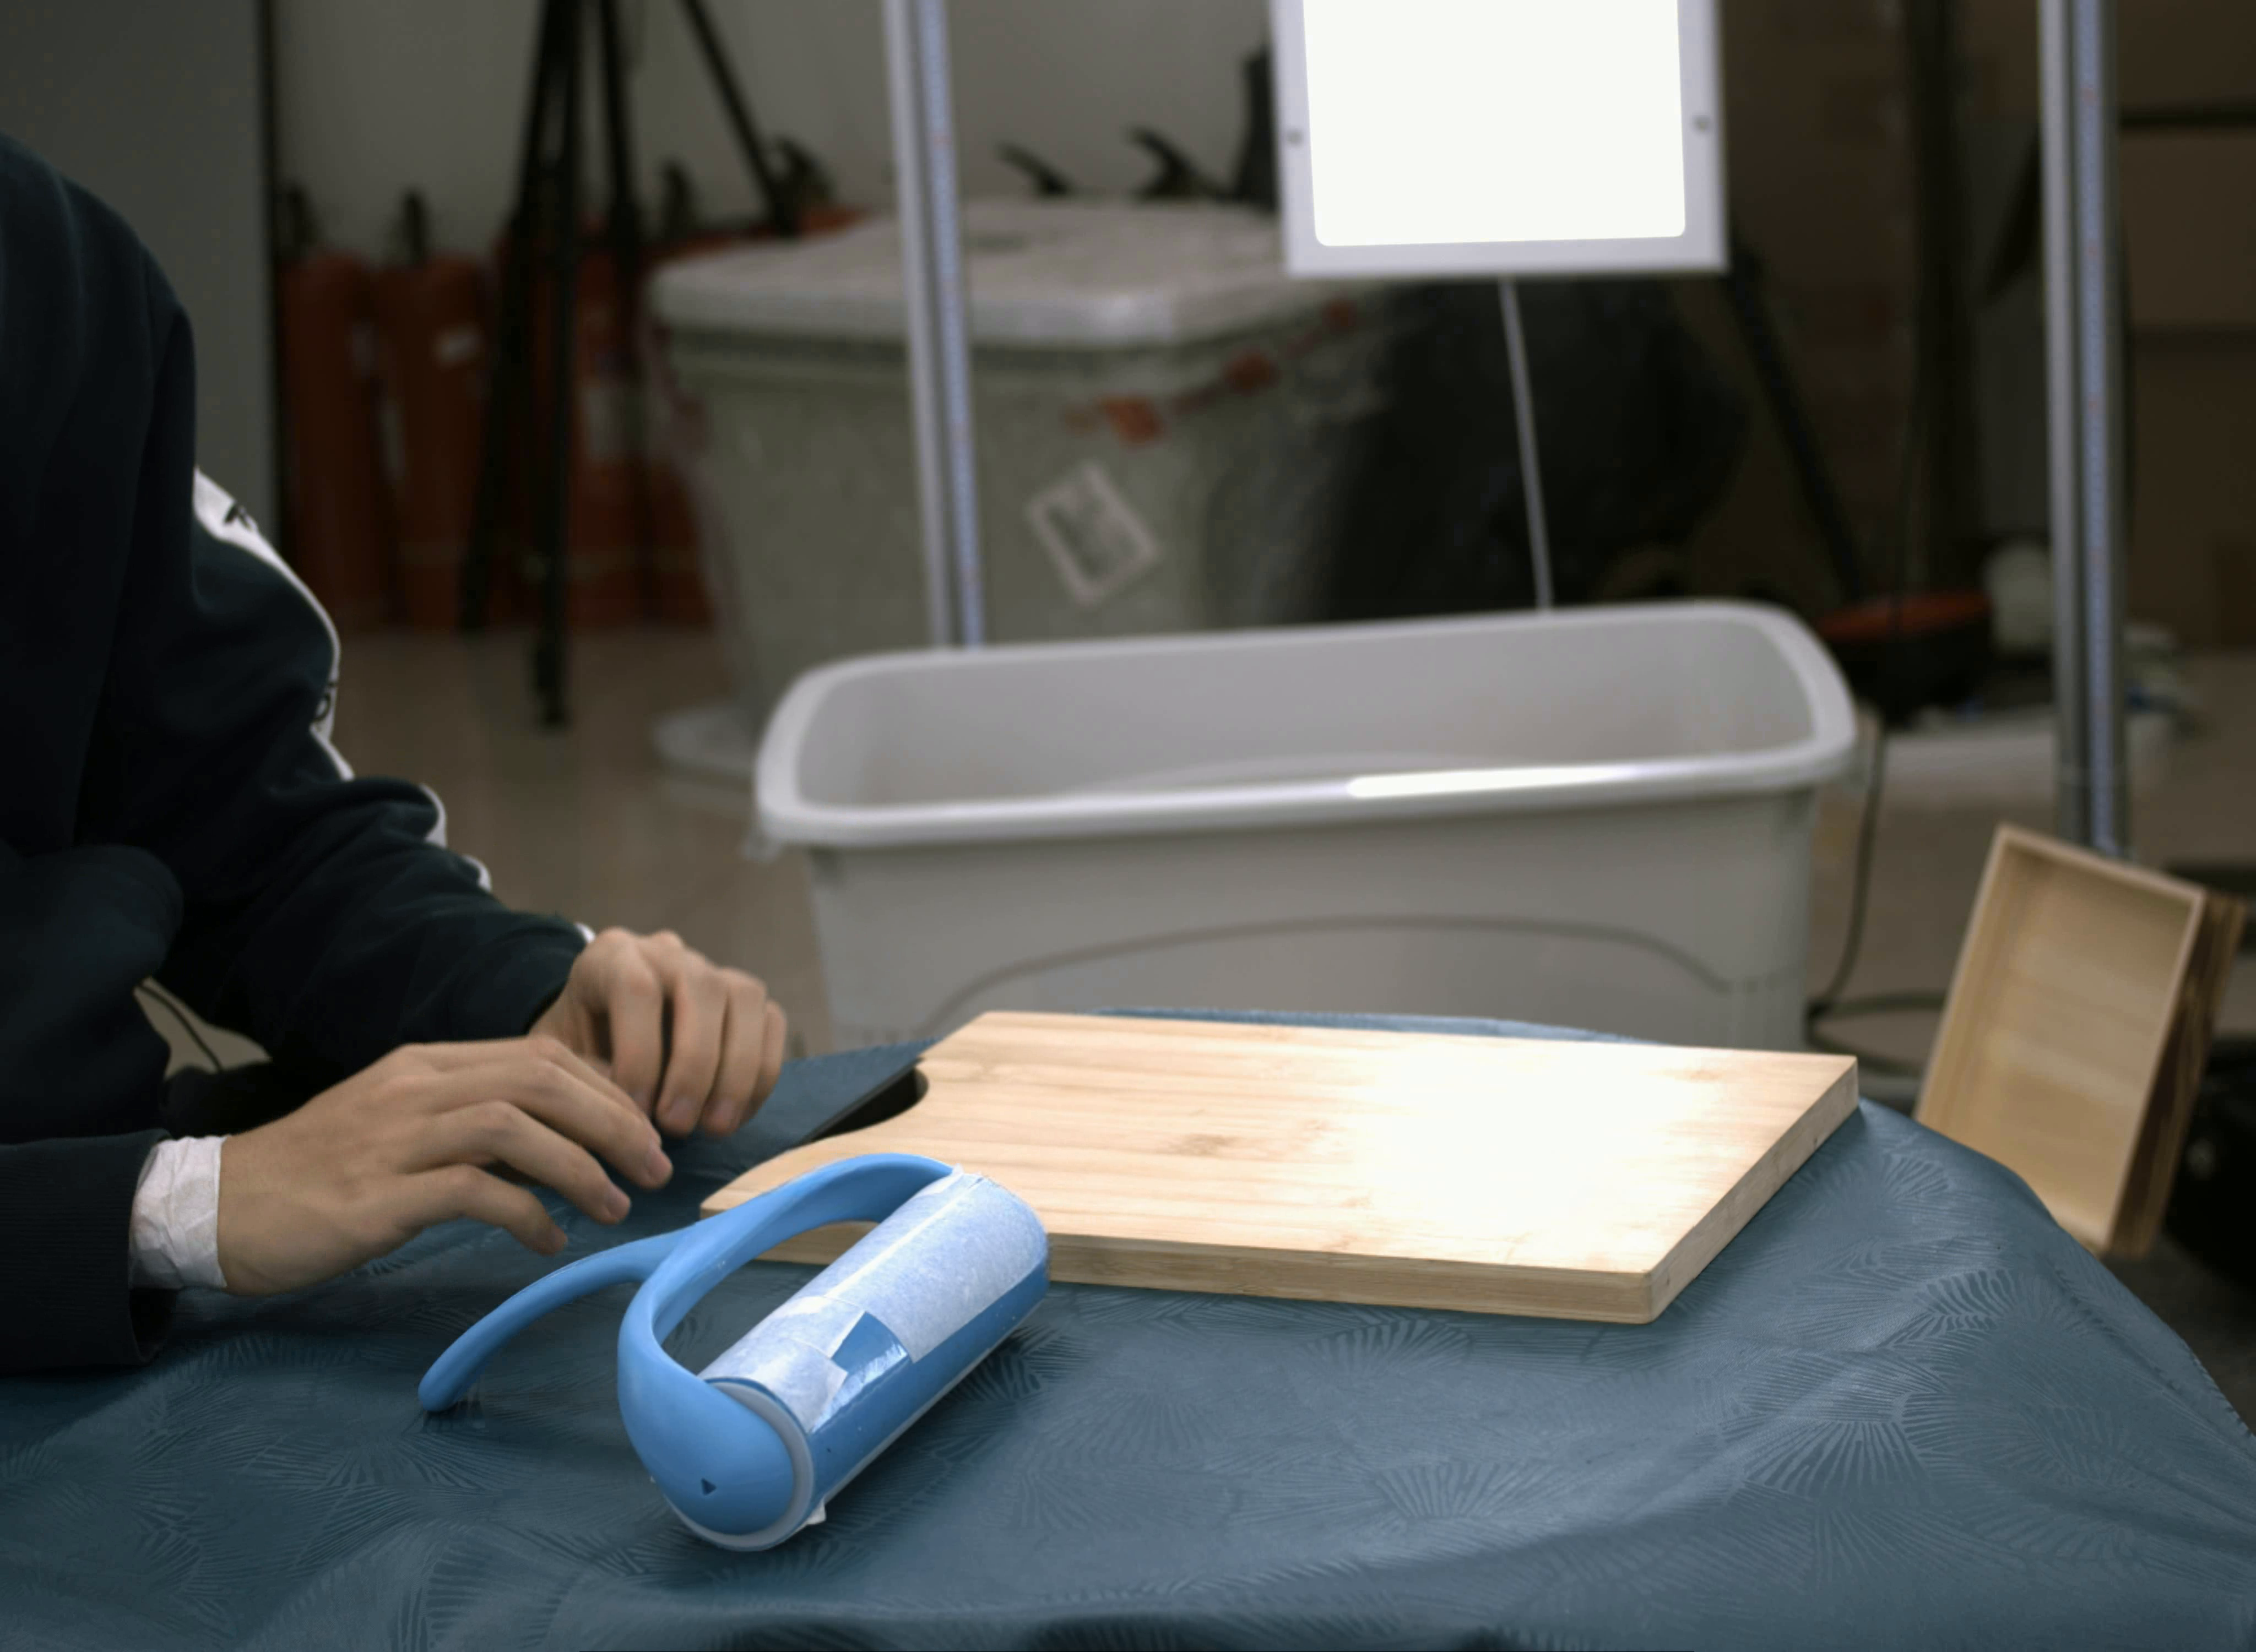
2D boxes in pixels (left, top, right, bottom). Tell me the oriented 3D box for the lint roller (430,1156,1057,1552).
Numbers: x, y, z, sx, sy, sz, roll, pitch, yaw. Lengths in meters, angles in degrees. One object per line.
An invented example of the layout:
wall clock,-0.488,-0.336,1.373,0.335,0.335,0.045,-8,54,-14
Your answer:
lint roller,-0.136,0.159,1.695,0.182,0.068,0.225,0,16,19

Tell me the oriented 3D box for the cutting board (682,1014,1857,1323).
cutting board,0.053,0.114,1.894,0.354,0.023,0.246,1,15,25
